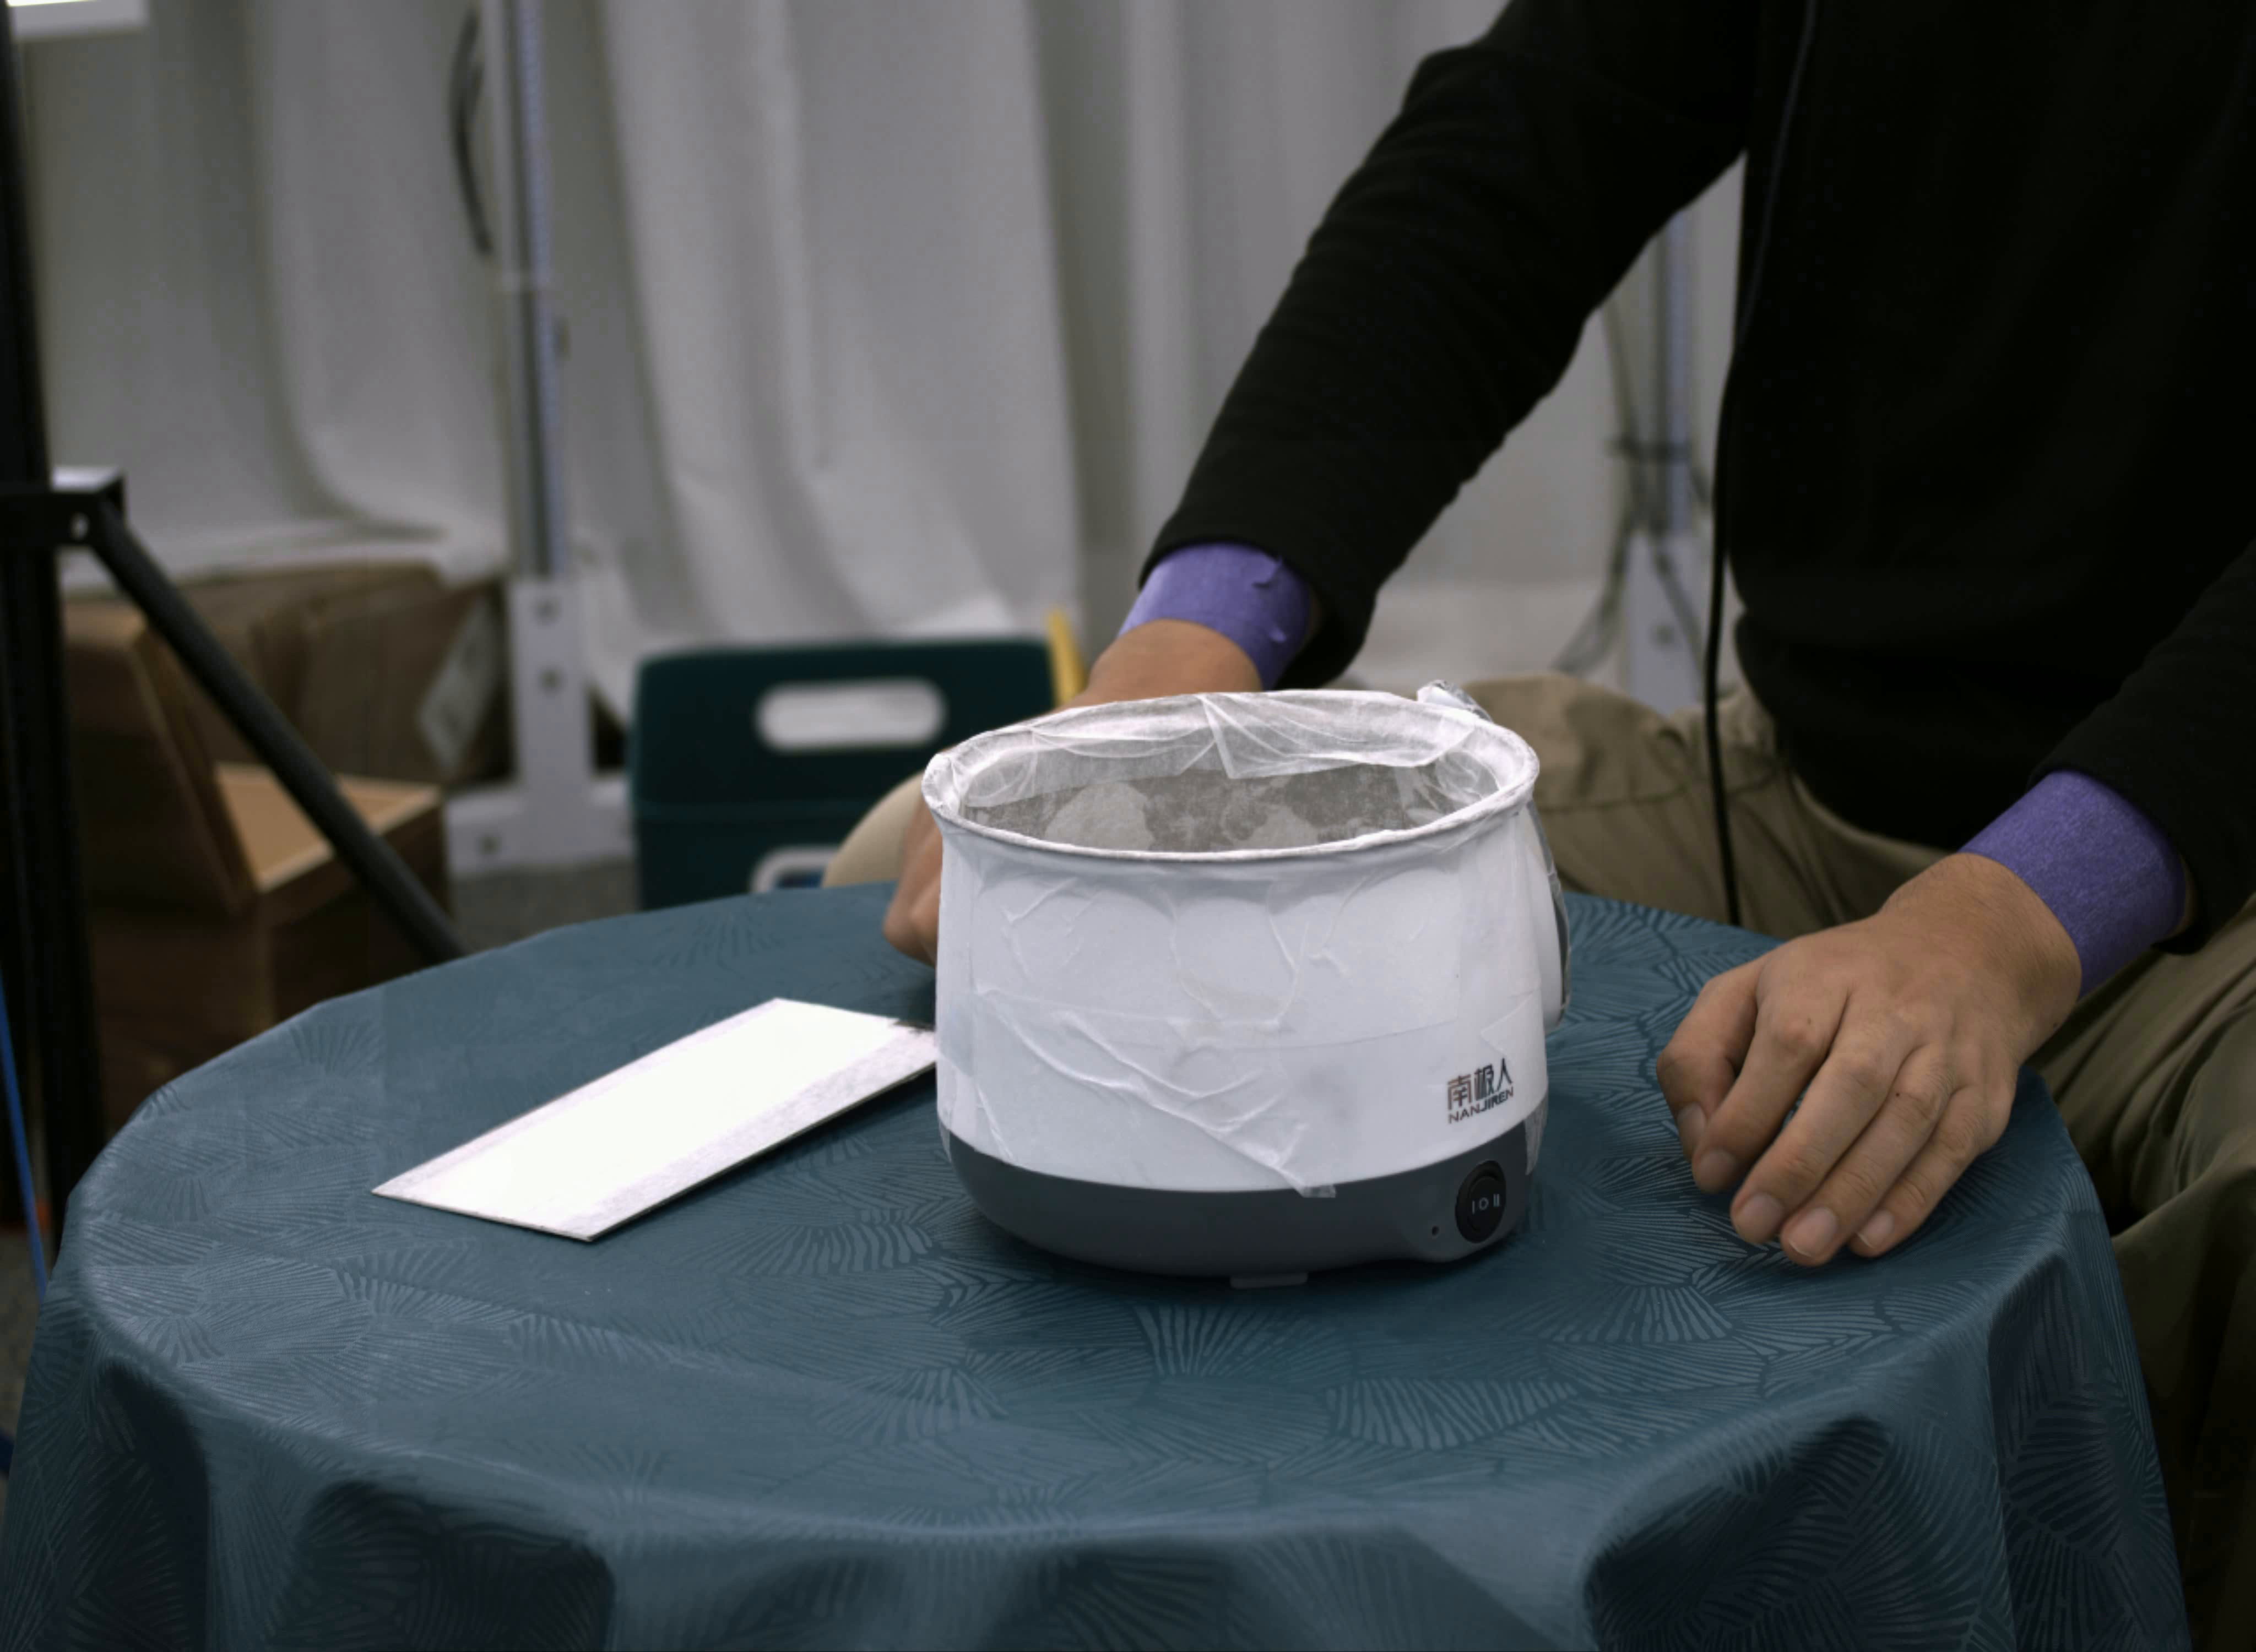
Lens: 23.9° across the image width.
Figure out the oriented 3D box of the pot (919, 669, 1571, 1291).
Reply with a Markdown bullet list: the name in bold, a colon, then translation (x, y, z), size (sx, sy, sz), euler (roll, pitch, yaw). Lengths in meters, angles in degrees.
- **pot**: translation (0.049, 0.037, 1.541), size (0.182, 0.136, 0.229), euler (11, 22, 39)

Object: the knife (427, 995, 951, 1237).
- **knife**: translation (-0.099, 0.073, 1.671), size (0.095, 0.021, 0.299), euler (9, 22, 36)
